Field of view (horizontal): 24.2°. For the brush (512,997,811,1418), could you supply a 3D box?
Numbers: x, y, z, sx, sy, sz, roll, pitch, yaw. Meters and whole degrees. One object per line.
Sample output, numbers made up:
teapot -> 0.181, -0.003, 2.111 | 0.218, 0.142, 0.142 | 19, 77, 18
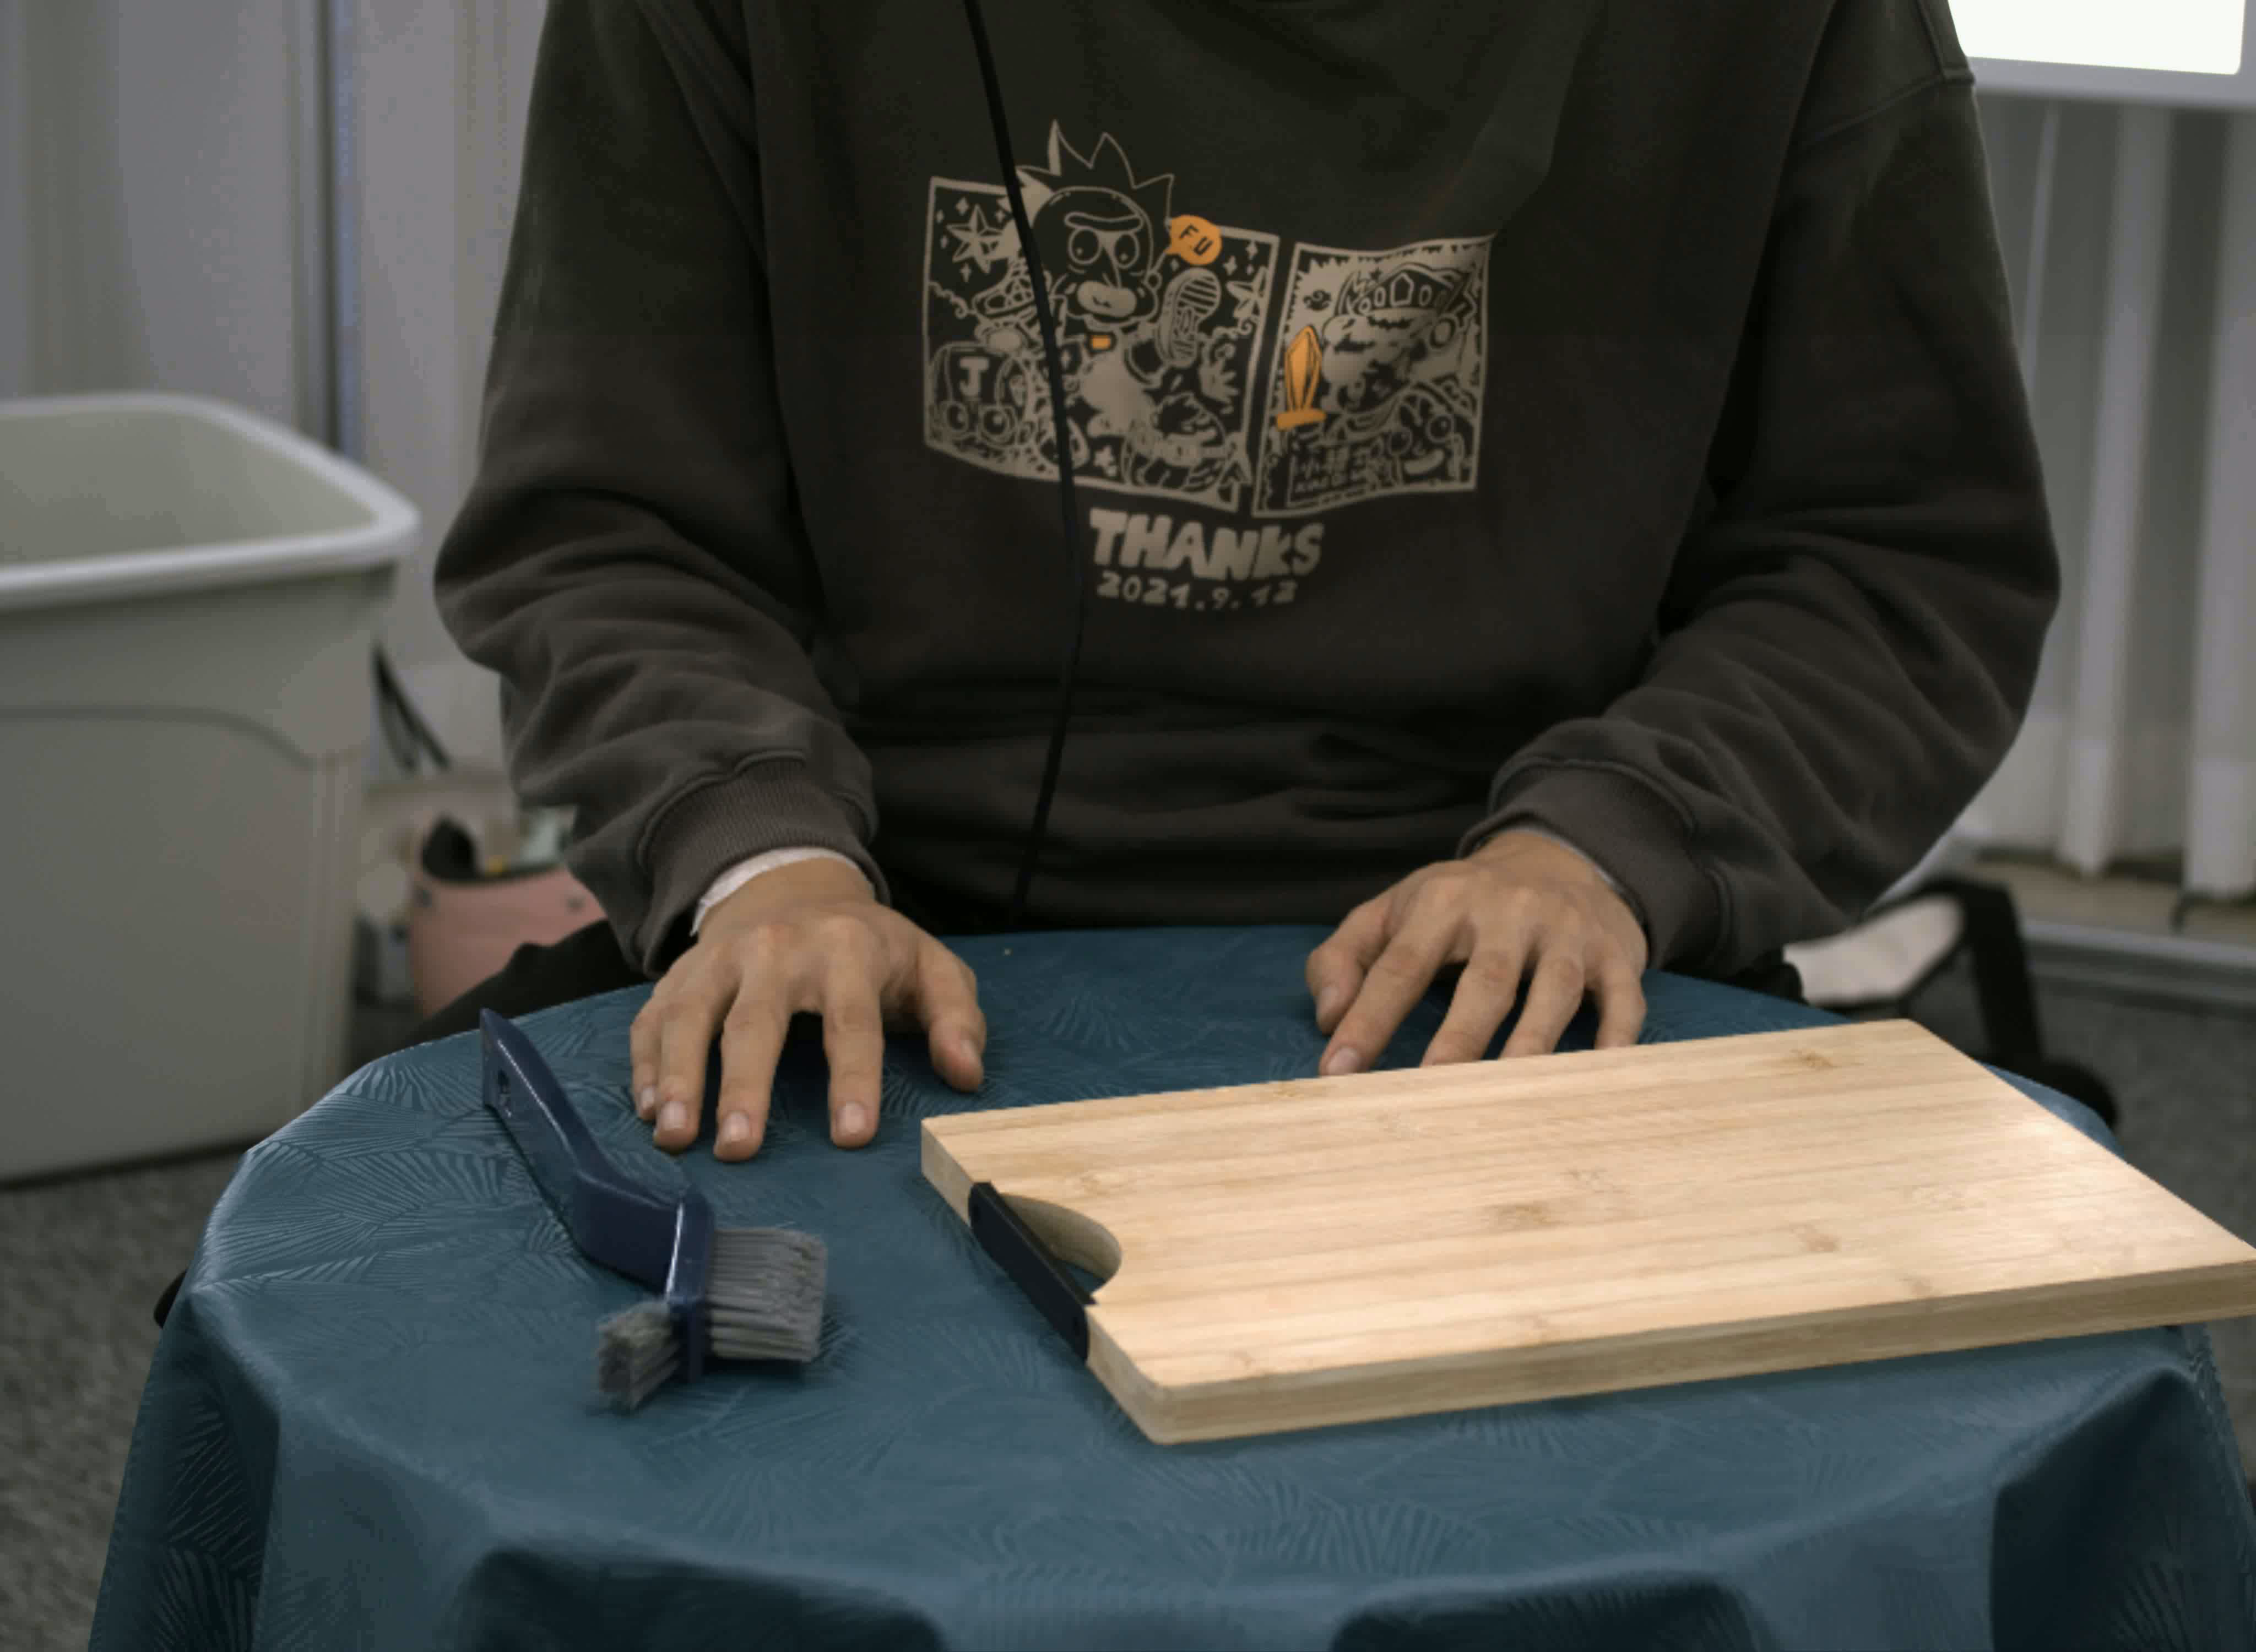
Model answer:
brush -> -0.167, 0.110, 1.576 | 0.096, 0.034, 0.270 | -7, 18, -25

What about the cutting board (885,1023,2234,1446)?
cutting board -> 0.125, 0.118, 1.586 | 0.349, 0.024, 0.248 | -5, 16, -19
